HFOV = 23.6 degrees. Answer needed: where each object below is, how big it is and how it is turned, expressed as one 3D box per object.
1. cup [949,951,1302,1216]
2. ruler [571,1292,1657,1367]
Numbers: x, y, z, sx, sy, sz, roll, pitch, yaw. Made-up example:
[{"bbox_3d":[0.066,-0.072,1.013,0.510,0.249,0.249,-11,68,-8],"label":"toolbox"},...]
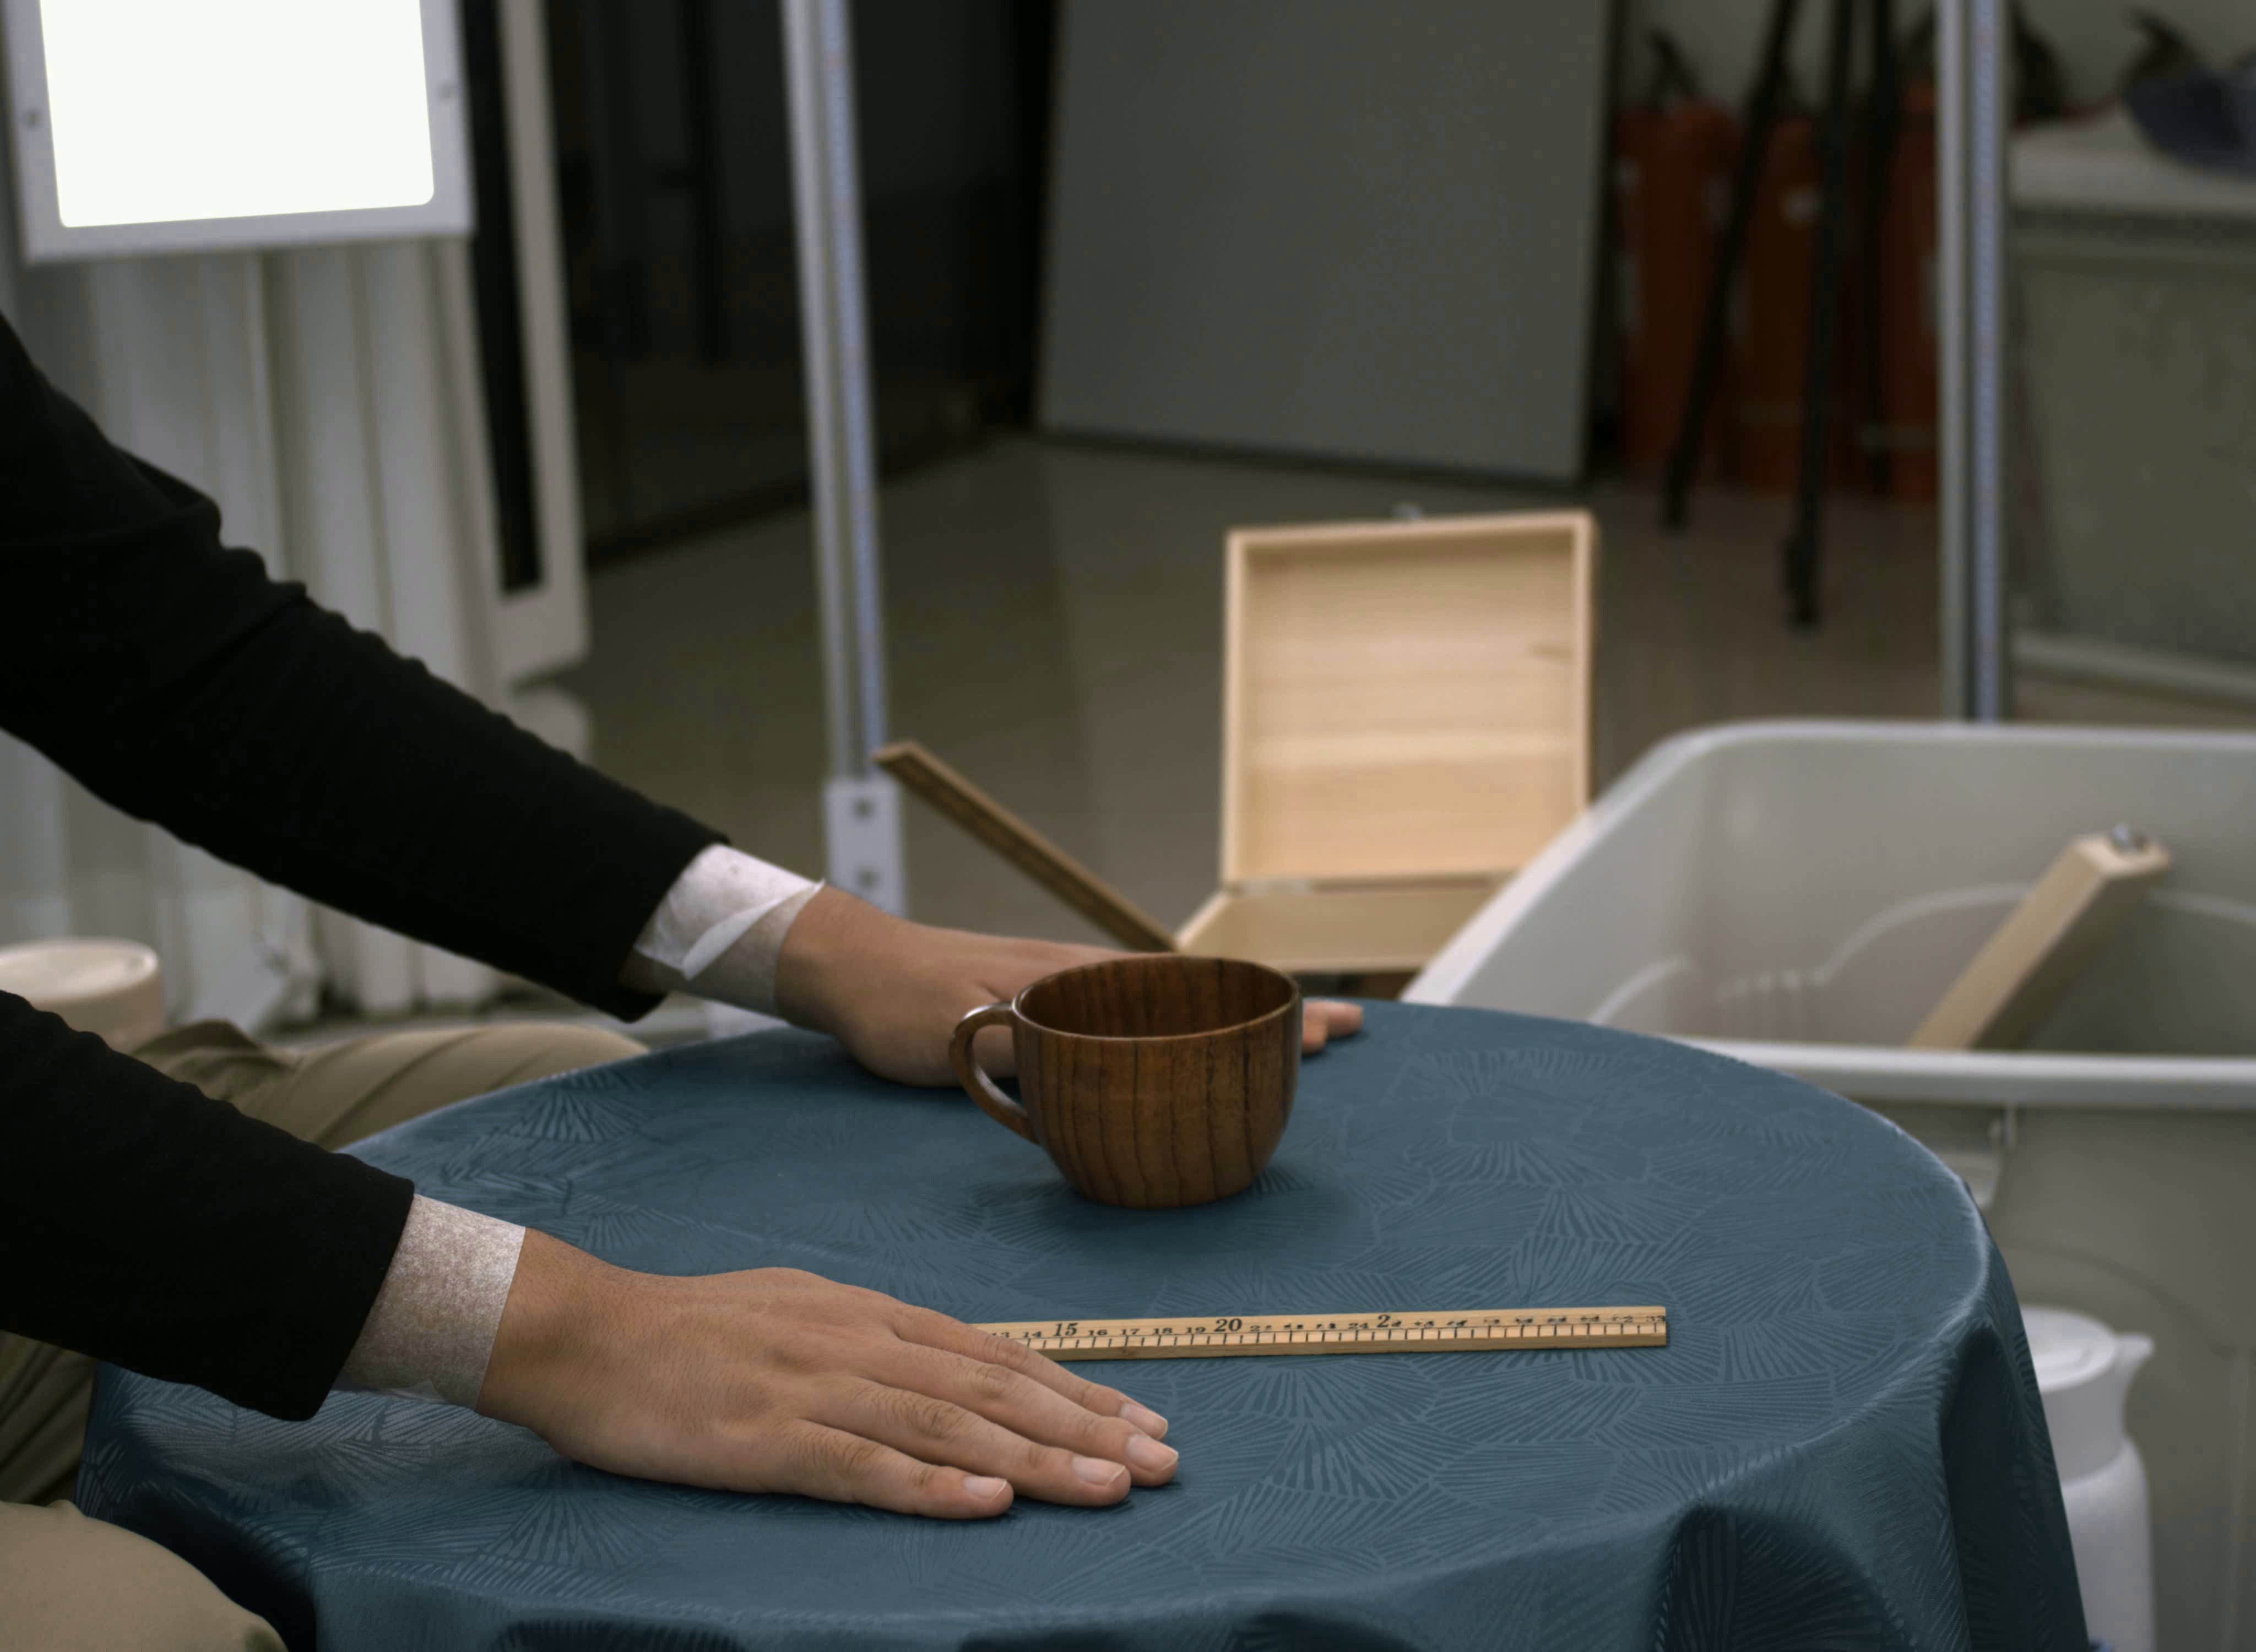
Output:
[{"bbox_3d":[0.000,0.086,1.775,0.119,0.068,0.095,-2,16,14],"label":"cup"},{"bbox_3d":[-0.005,0.152,1.623,0.329,0.022,0.027,-1,9,9],"label":"ruler"}]
